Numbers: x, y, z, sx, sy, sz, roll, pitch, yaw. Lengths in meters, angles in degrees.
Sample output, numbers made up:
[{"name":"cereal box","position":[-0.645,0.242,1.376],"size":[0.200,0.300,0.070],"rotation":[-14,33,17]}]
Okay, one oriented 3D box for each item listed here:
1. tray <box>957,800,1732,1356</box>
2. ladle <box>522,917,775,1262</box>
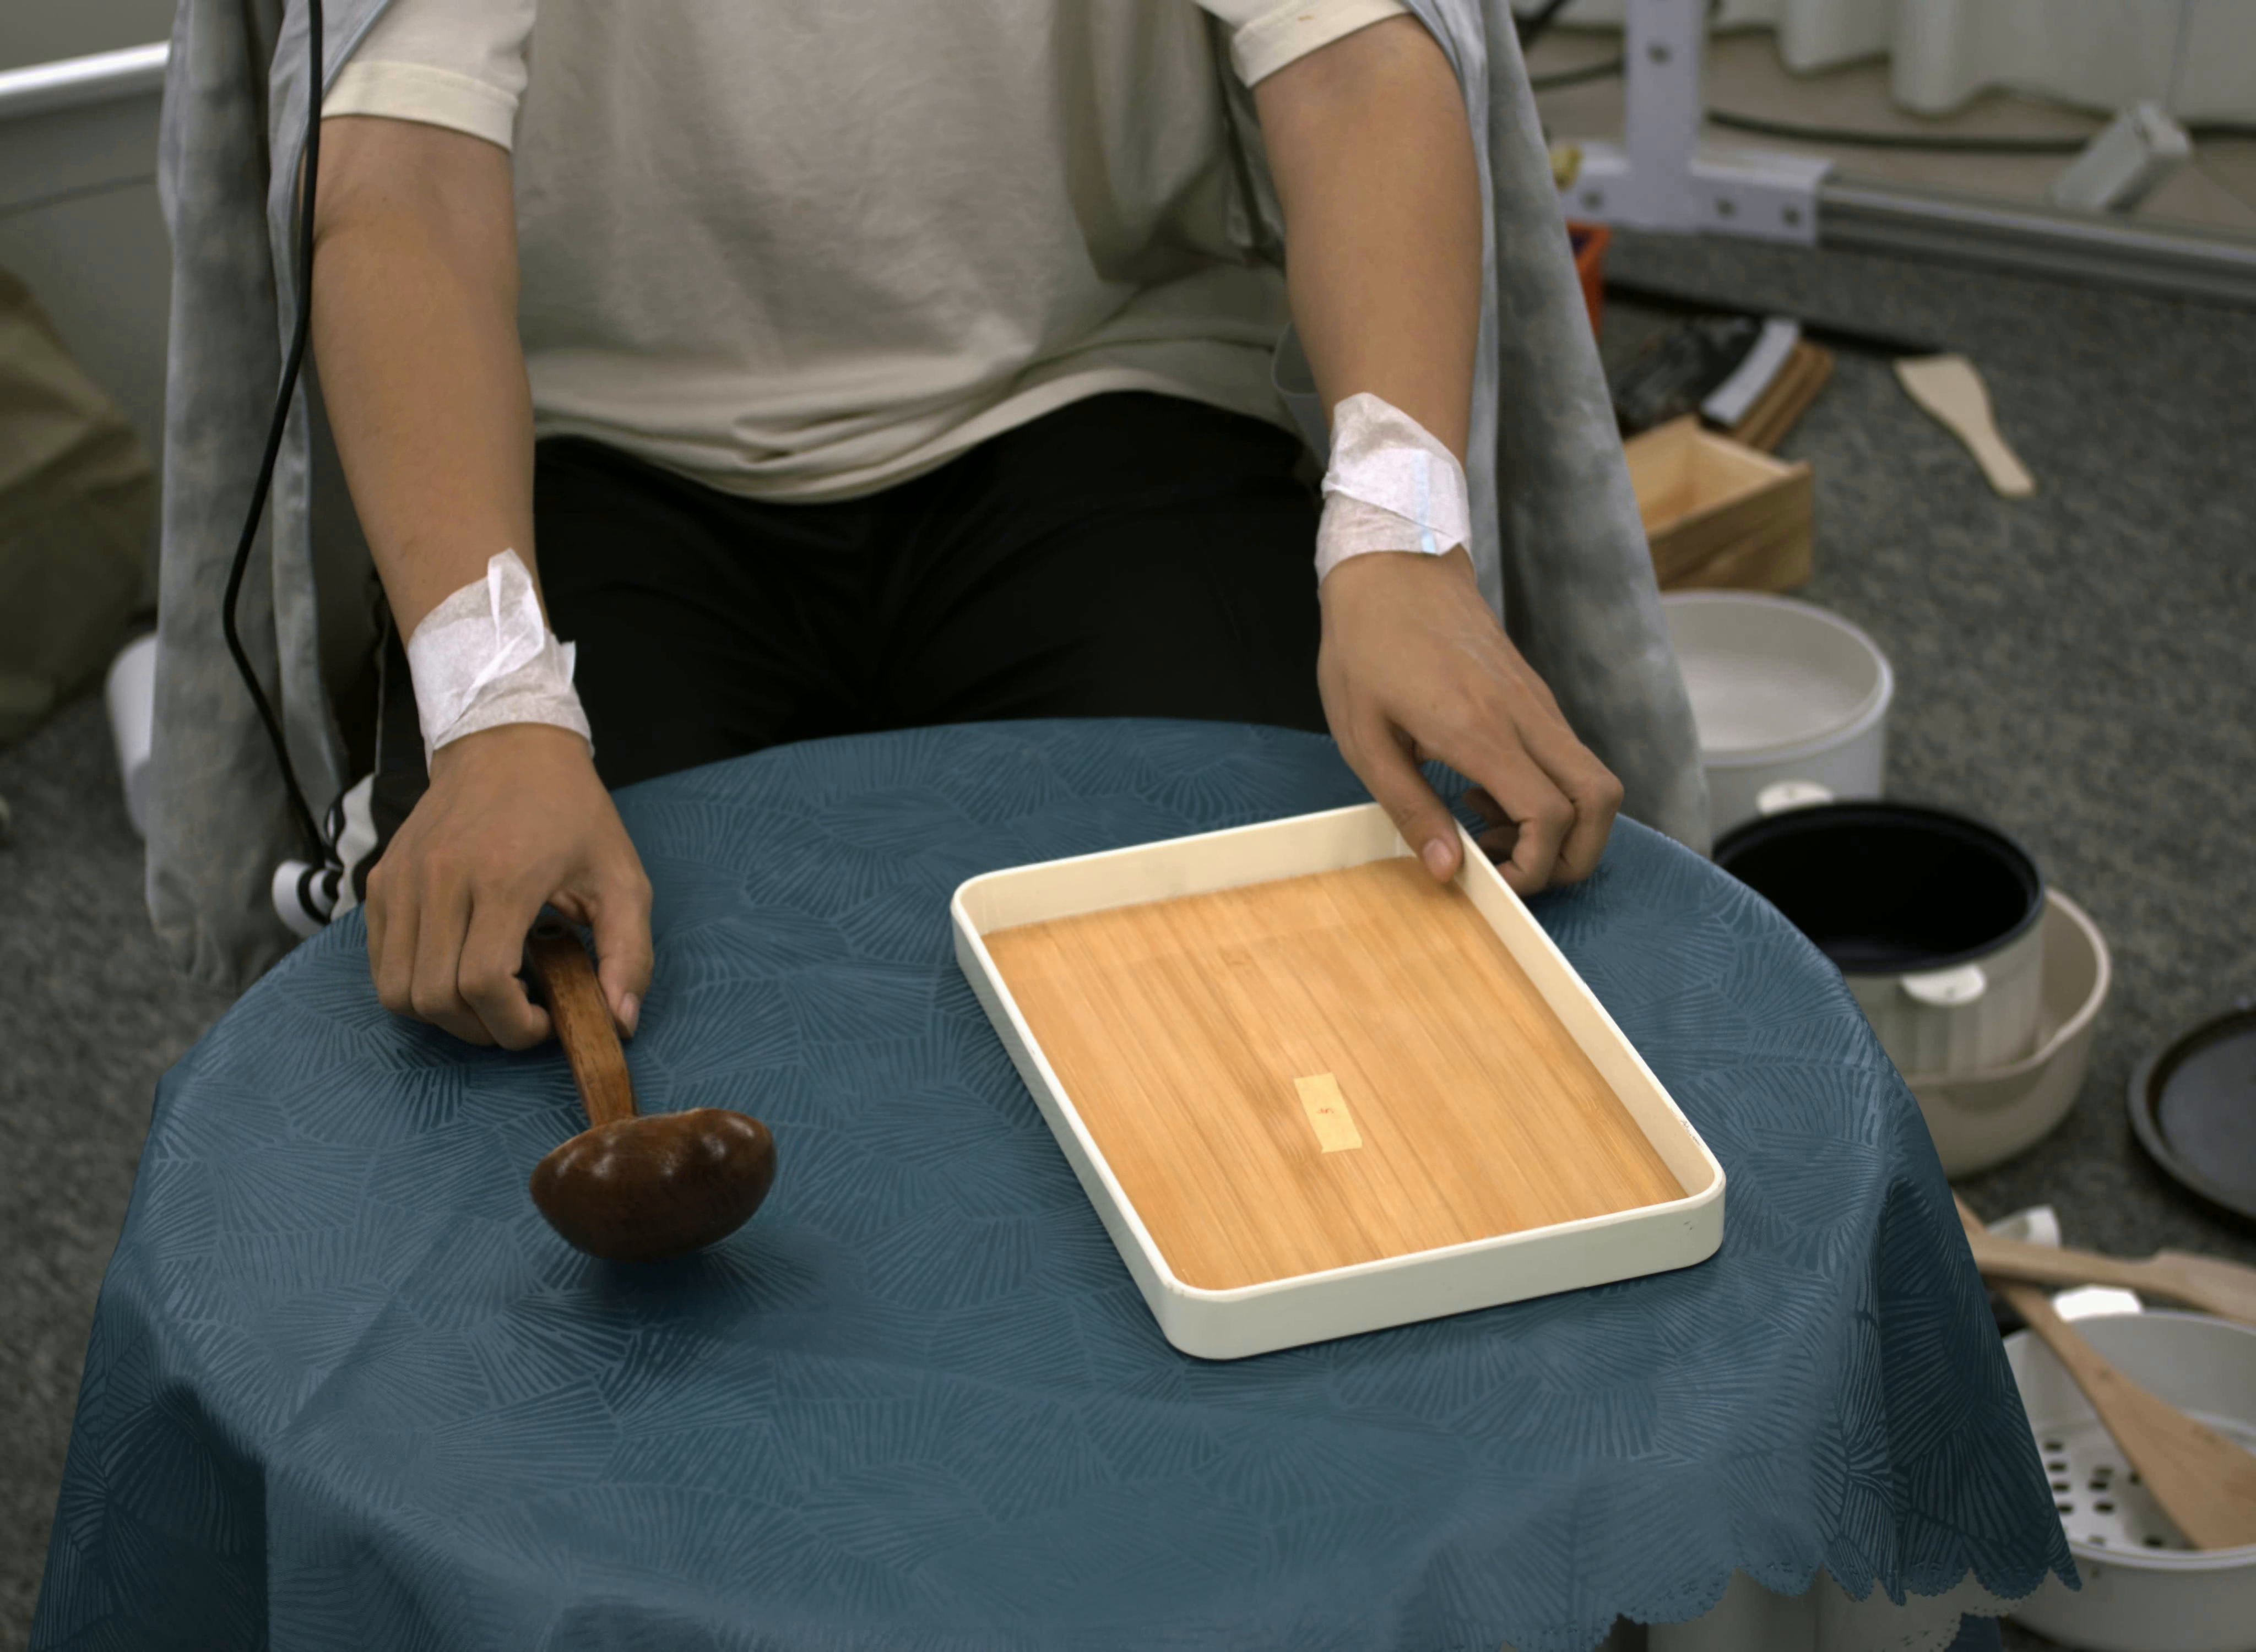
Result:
[{"name":"tray","position":[0.067,0.079,1.905],"size":[0.191,0.027,0.303],"rotation":[-10,28,-13]},{"name":"ladle","position":[-0.177,0.068,1.898],"size":[0.082,0.076,0.277],"rotation":[-2,26,-13]}]
